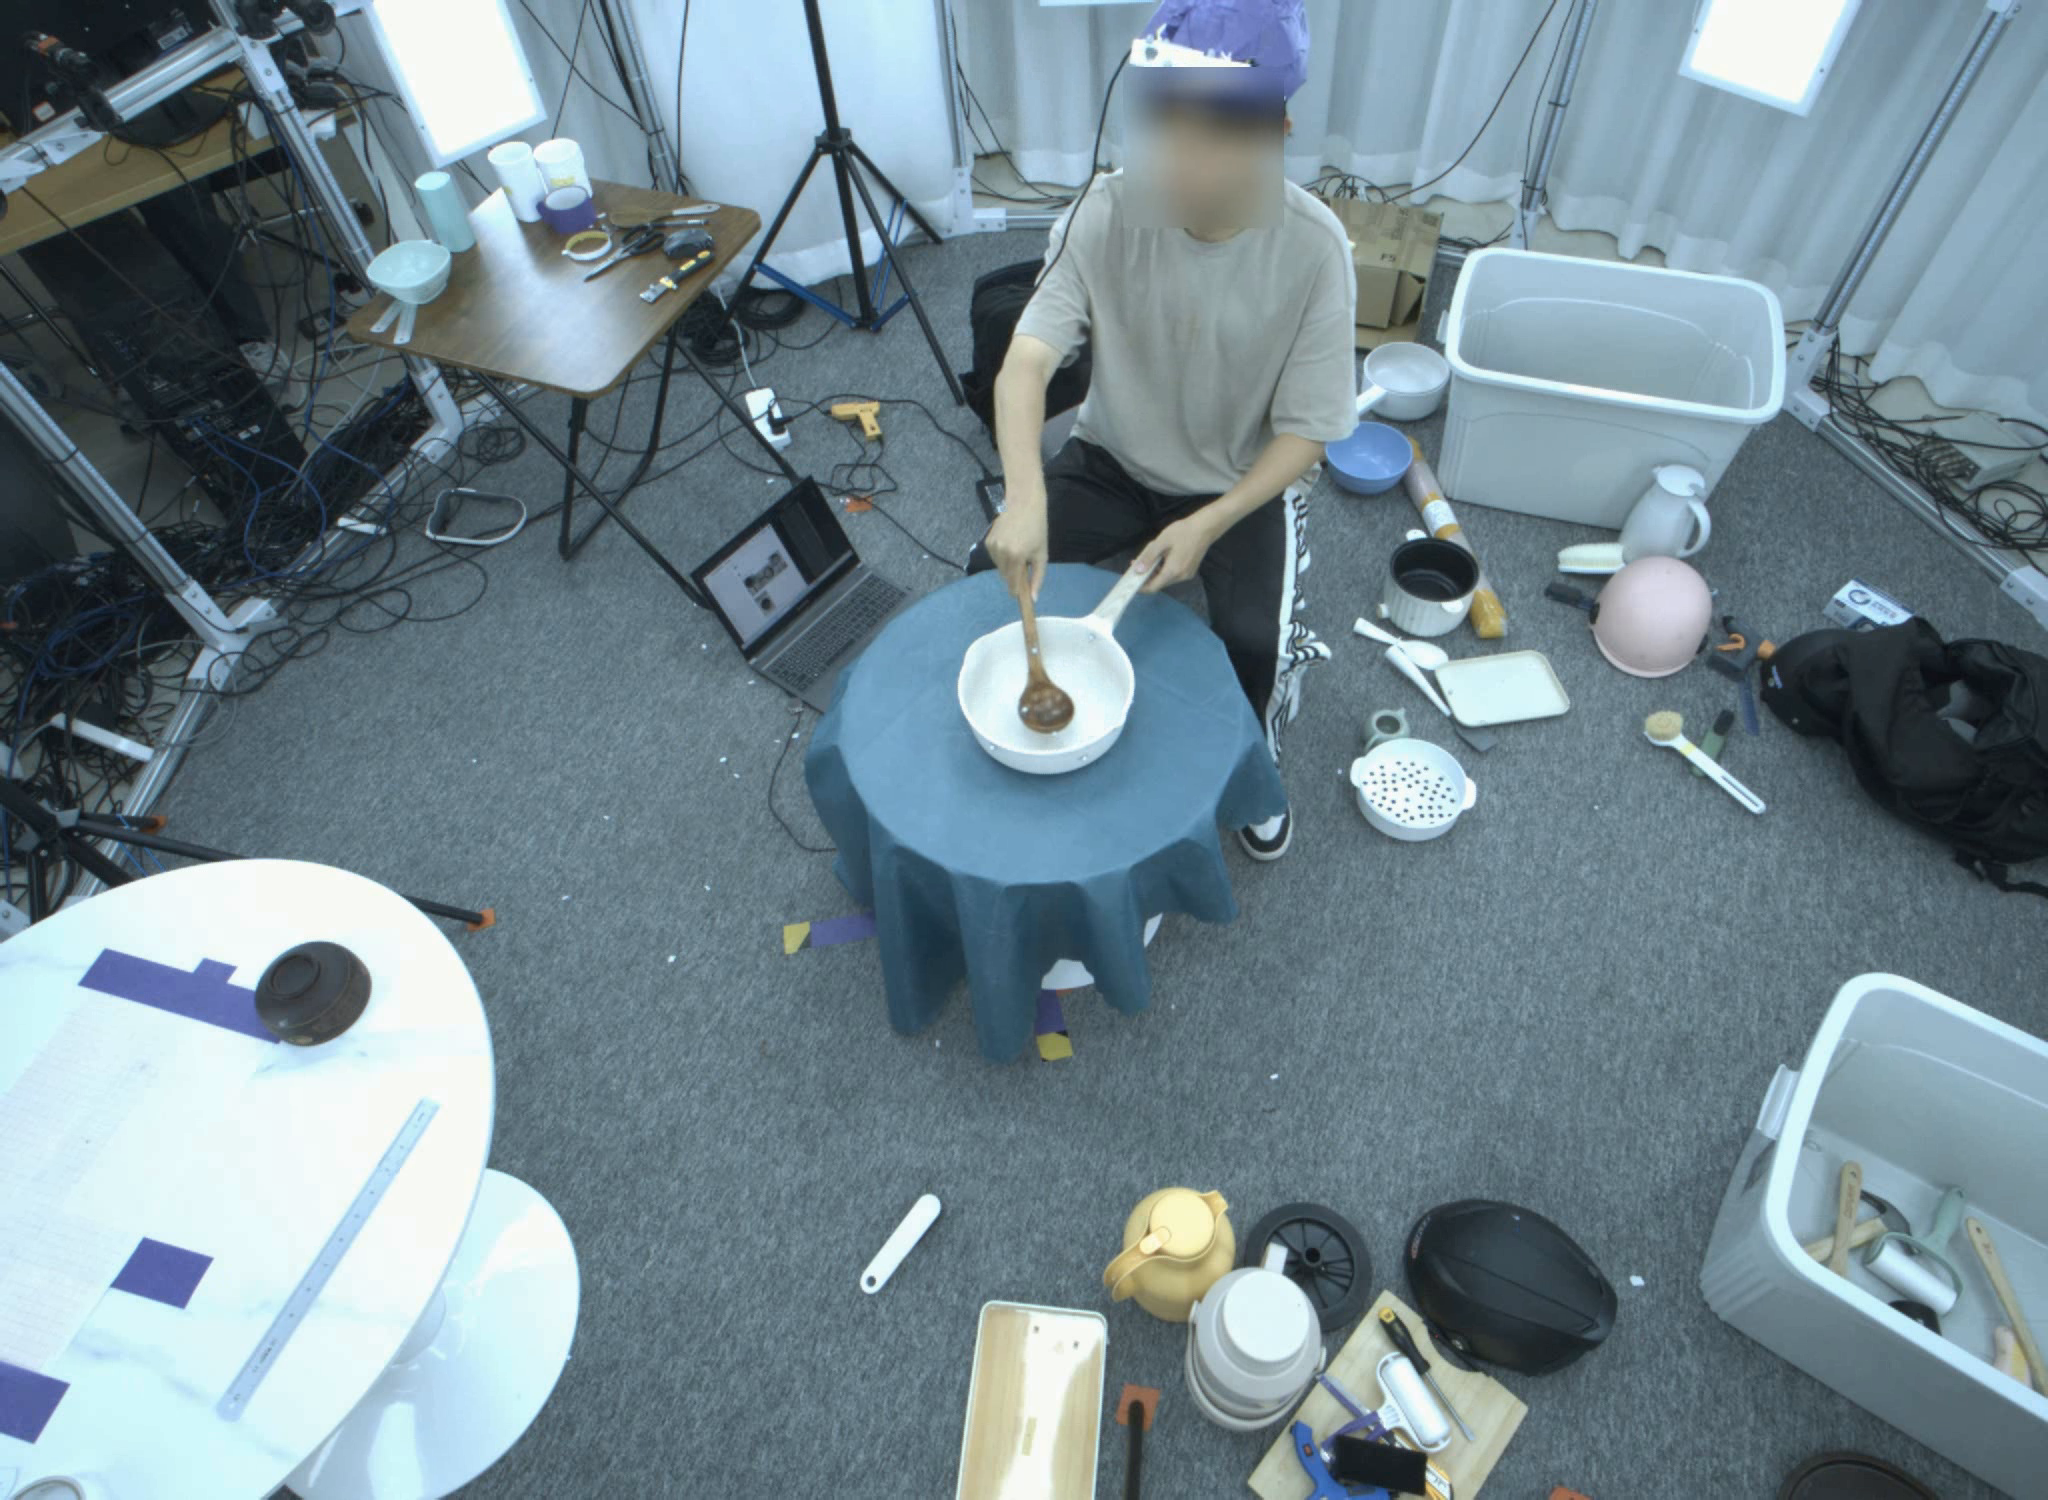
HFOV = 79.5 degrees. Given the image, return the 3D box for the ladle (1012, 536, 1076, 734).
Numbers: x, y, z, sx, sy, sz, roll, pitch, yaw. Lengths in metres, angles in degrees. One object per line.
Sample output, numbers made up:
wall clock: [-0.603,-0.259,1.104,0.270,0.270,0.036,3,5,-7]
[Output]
ladle: [0.017,-0.158,1.708,0.083,0.276,0.075,-13,16,-16]

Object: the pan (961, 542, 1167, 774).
pan: [0.091,-0.139,1.818,0.259,0.103,0.437,28,60,22]
